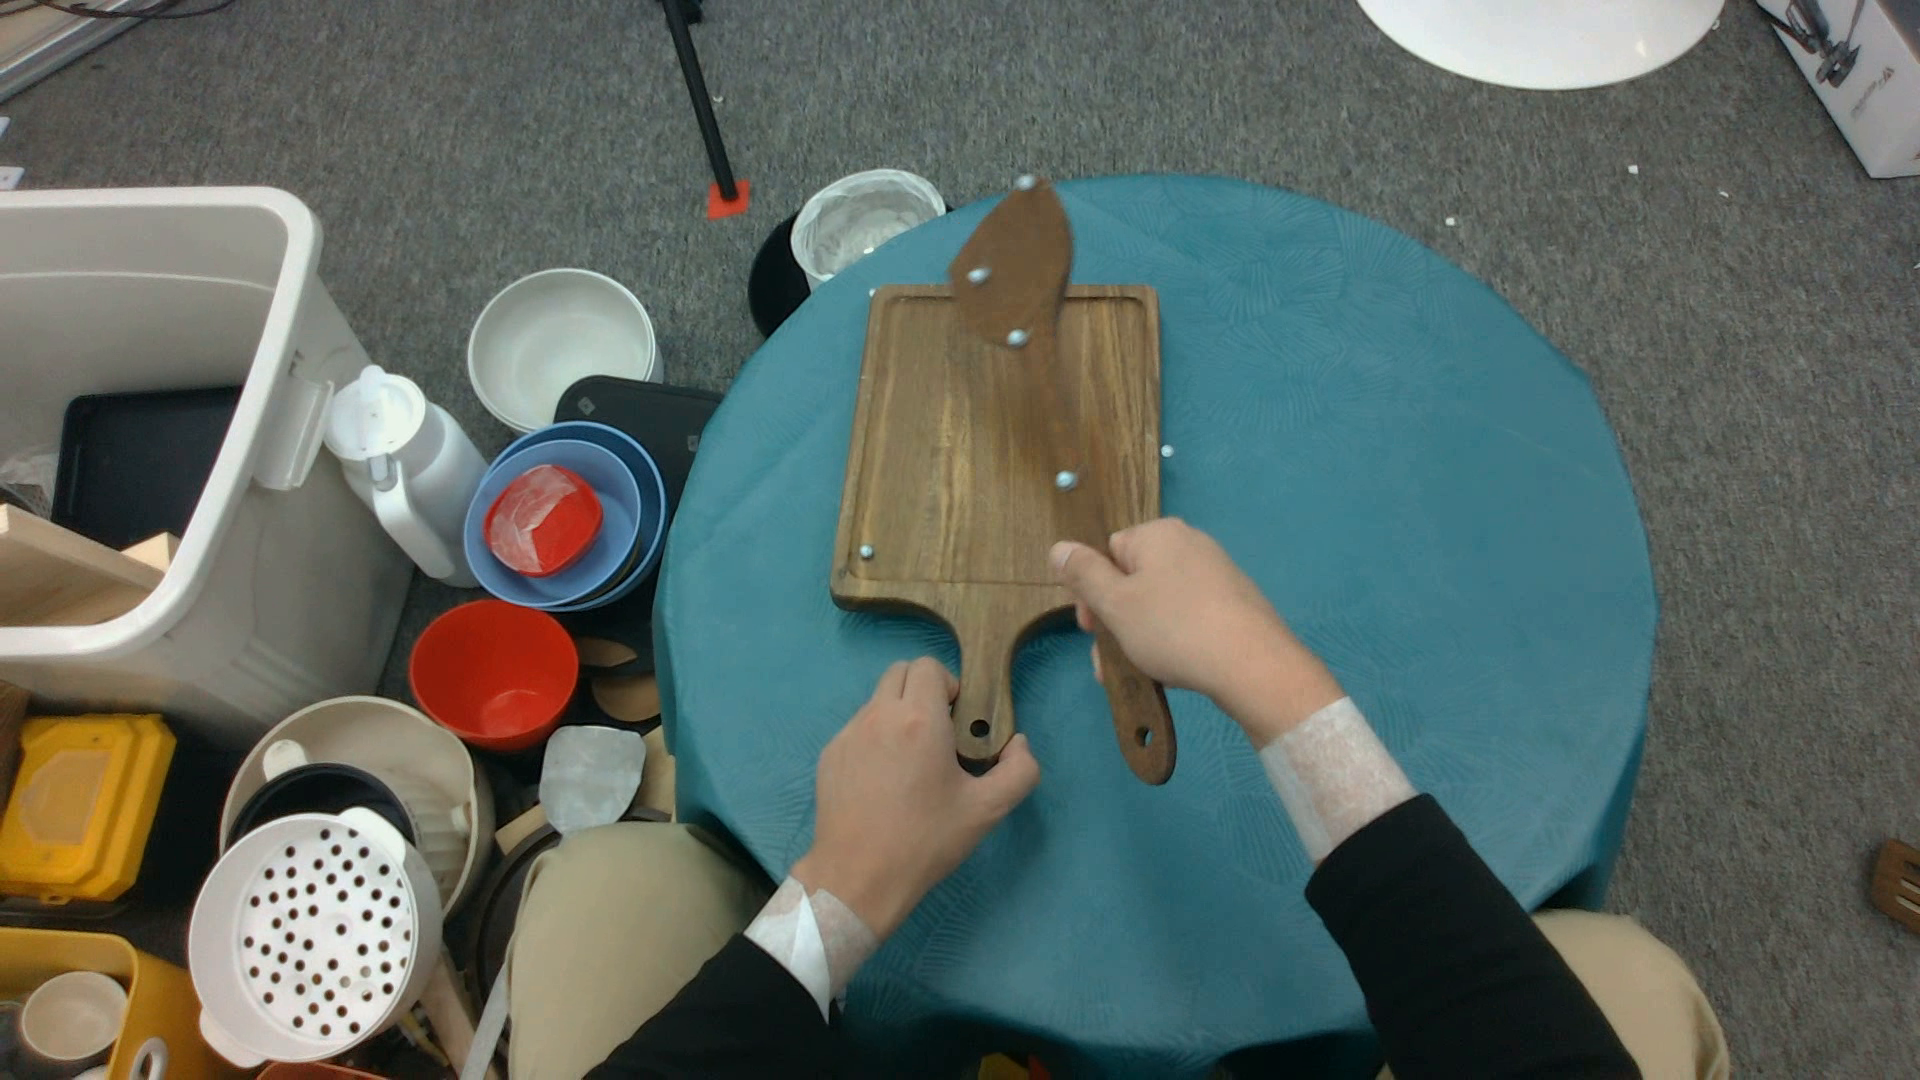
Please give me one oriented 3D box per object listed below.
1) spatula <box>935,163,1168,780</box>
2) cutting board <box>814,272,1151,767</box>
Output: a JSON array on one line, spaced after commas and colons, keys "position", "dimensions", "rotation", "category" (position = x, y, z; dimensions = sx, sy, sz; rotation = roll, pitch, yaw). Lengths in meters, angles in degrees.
[{"position": [0.049, -0.050, 0.718], "dimensions": [0.095, 0.016, 0.387], "rotation": [-40, 46, 33], "category": "spatula"}, {"position": [0.015, -0.029, 0.844], "dimensions": [0.201, 0.023, 0.353], "rotation": [1, 58, 5], "category": "cutting board"}]
